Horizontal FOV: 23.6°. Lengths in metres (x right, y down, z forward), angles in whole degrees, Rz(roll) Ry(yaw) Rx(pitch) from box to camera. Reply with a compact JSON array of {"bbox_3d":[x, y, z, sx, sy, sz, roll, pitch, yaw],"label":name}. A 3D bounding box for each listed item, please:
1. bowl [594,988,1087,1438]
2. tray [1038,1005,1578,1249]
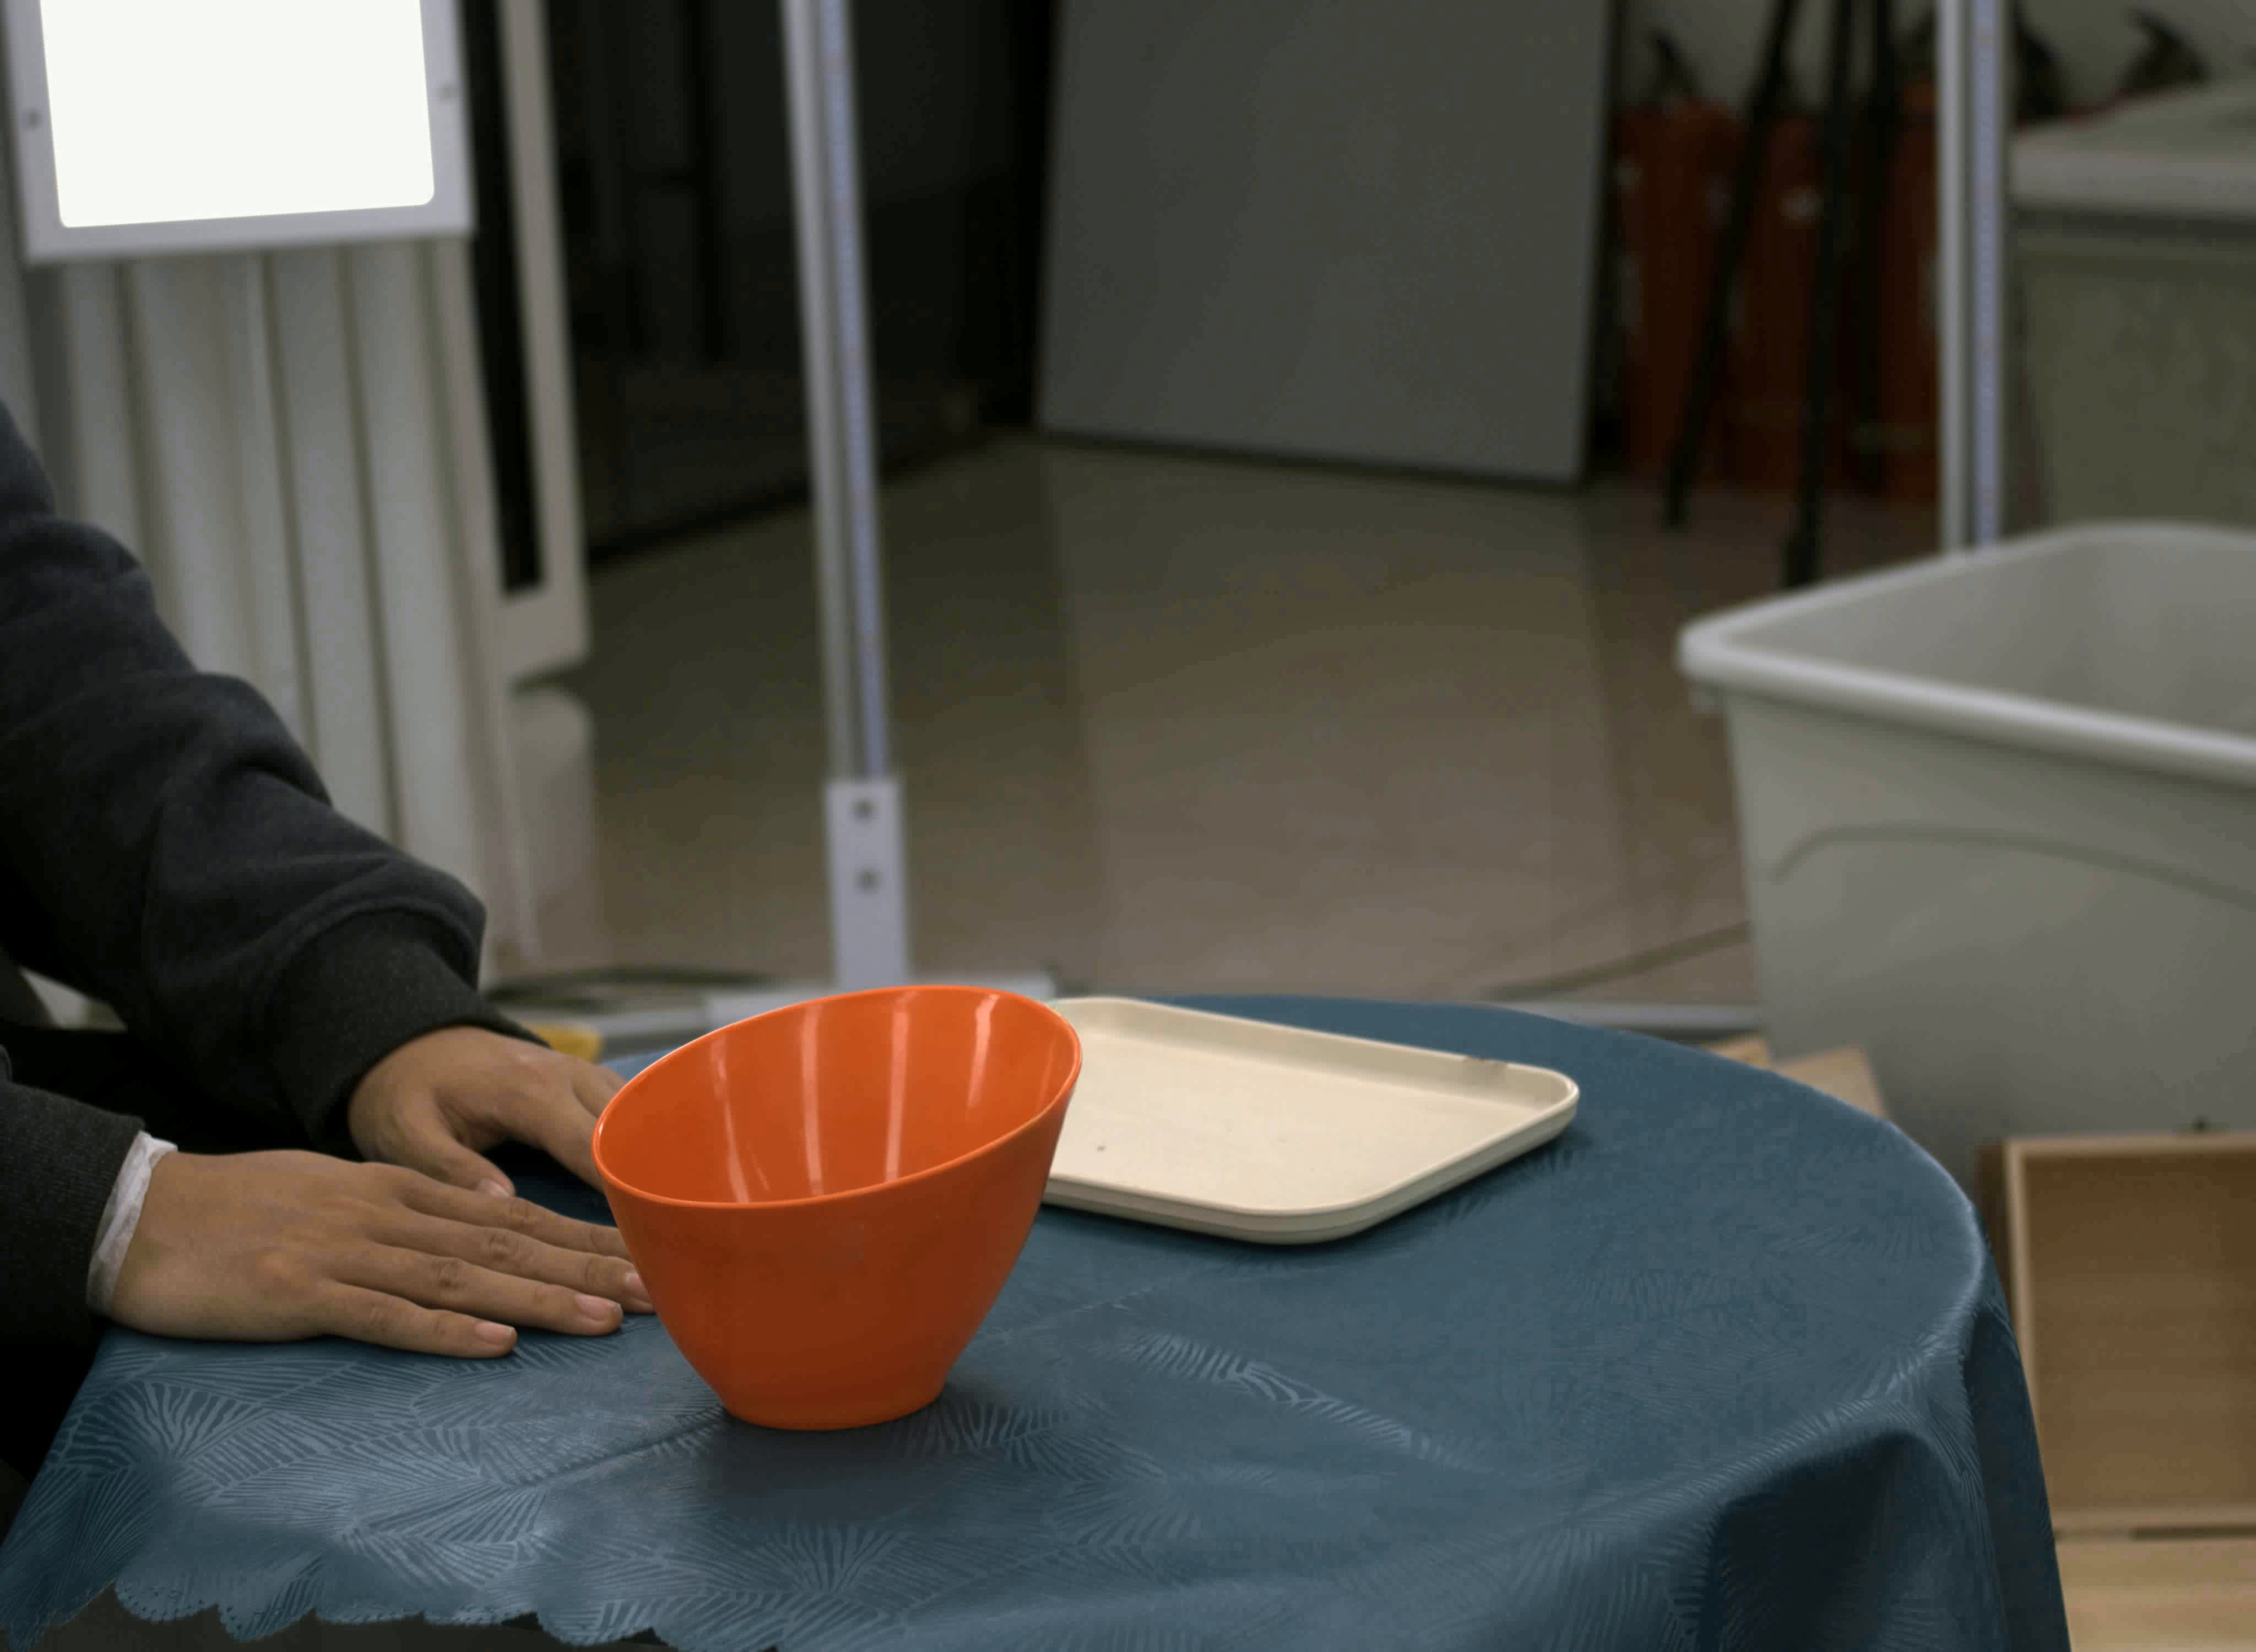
[{"bbox_3d":[-0.082,0.117,1.593,0.146,0.106,0.148,-3,14,0],"label":"bowl"},{"bbox_3d":[0.020,0.100,1.813,0.241,0.017,0.168,7,18,39],"label":"tray"}]
